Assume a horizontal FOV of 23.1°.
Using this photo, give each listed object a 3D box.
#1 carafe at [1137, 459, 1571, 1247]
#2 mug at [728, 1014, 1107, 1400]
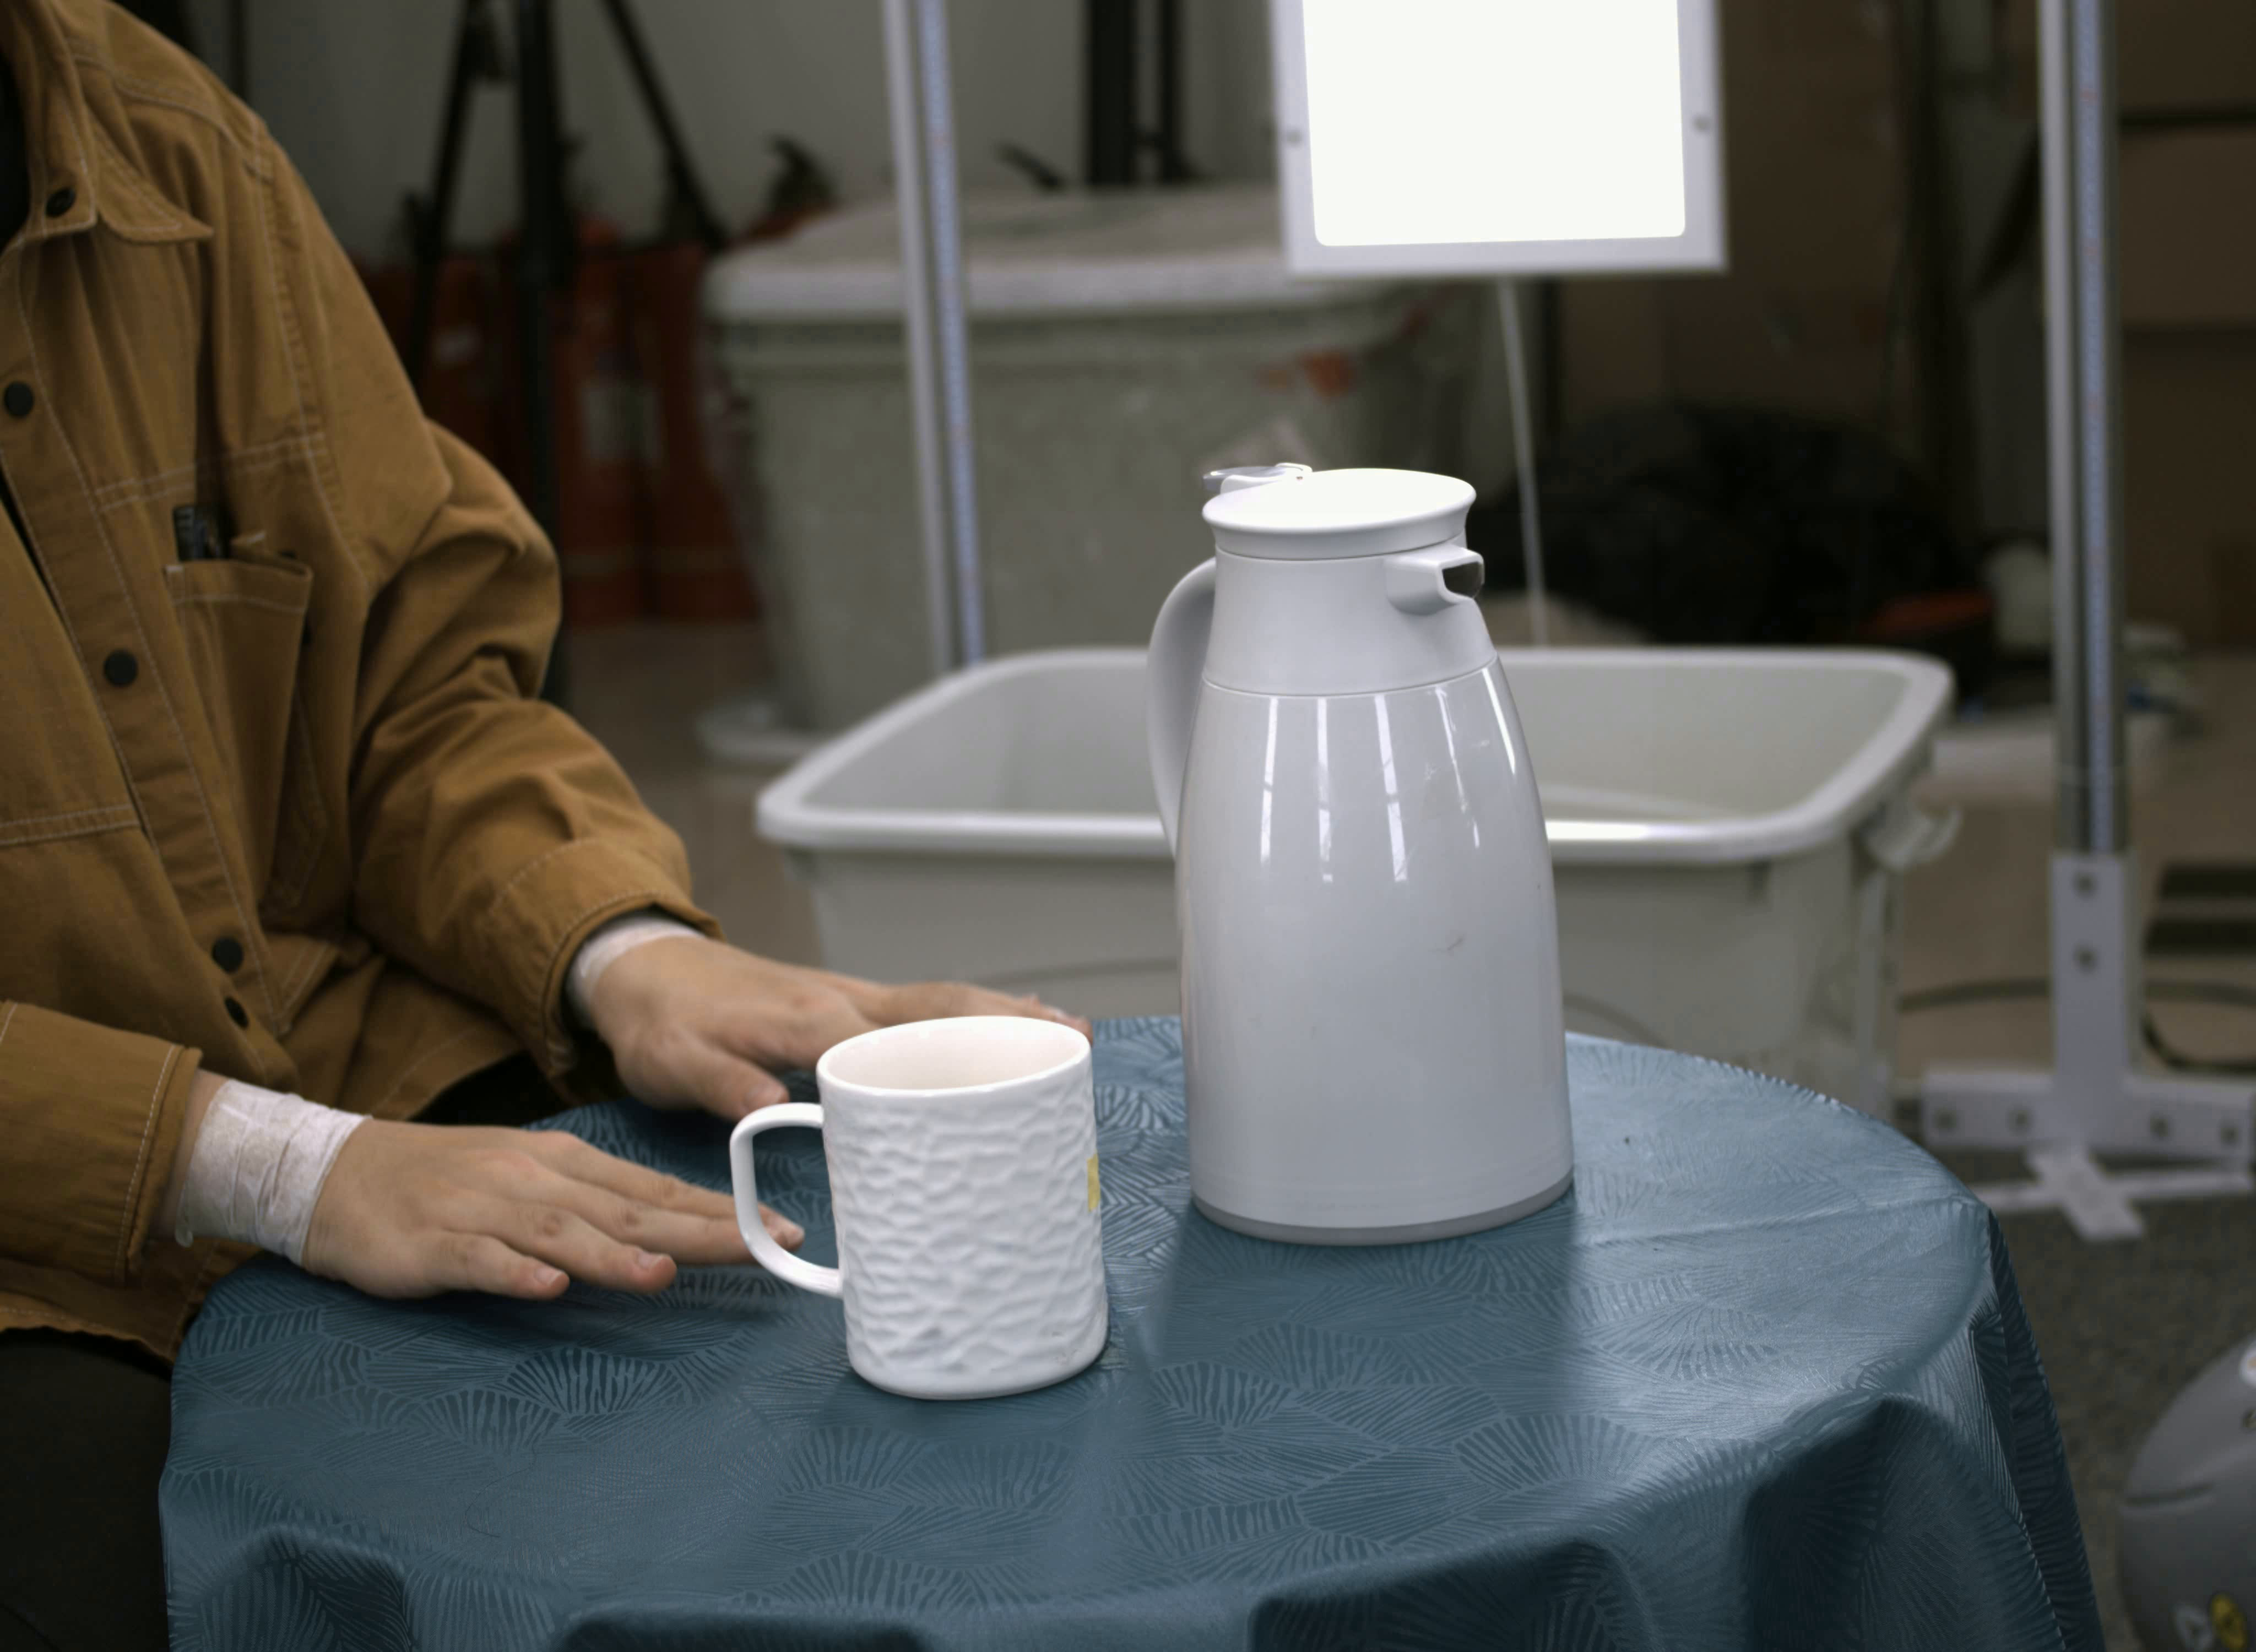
[{"bbox_3d":[0.064,0.001,1.865,0.129,0.249,0.171,-16,17,-35],"label":"carafe"},{"bbox_3d":[-0.067,0.120,1.735,0.119,0.102,0.084,-2,14,13],"label":"mug"}]
